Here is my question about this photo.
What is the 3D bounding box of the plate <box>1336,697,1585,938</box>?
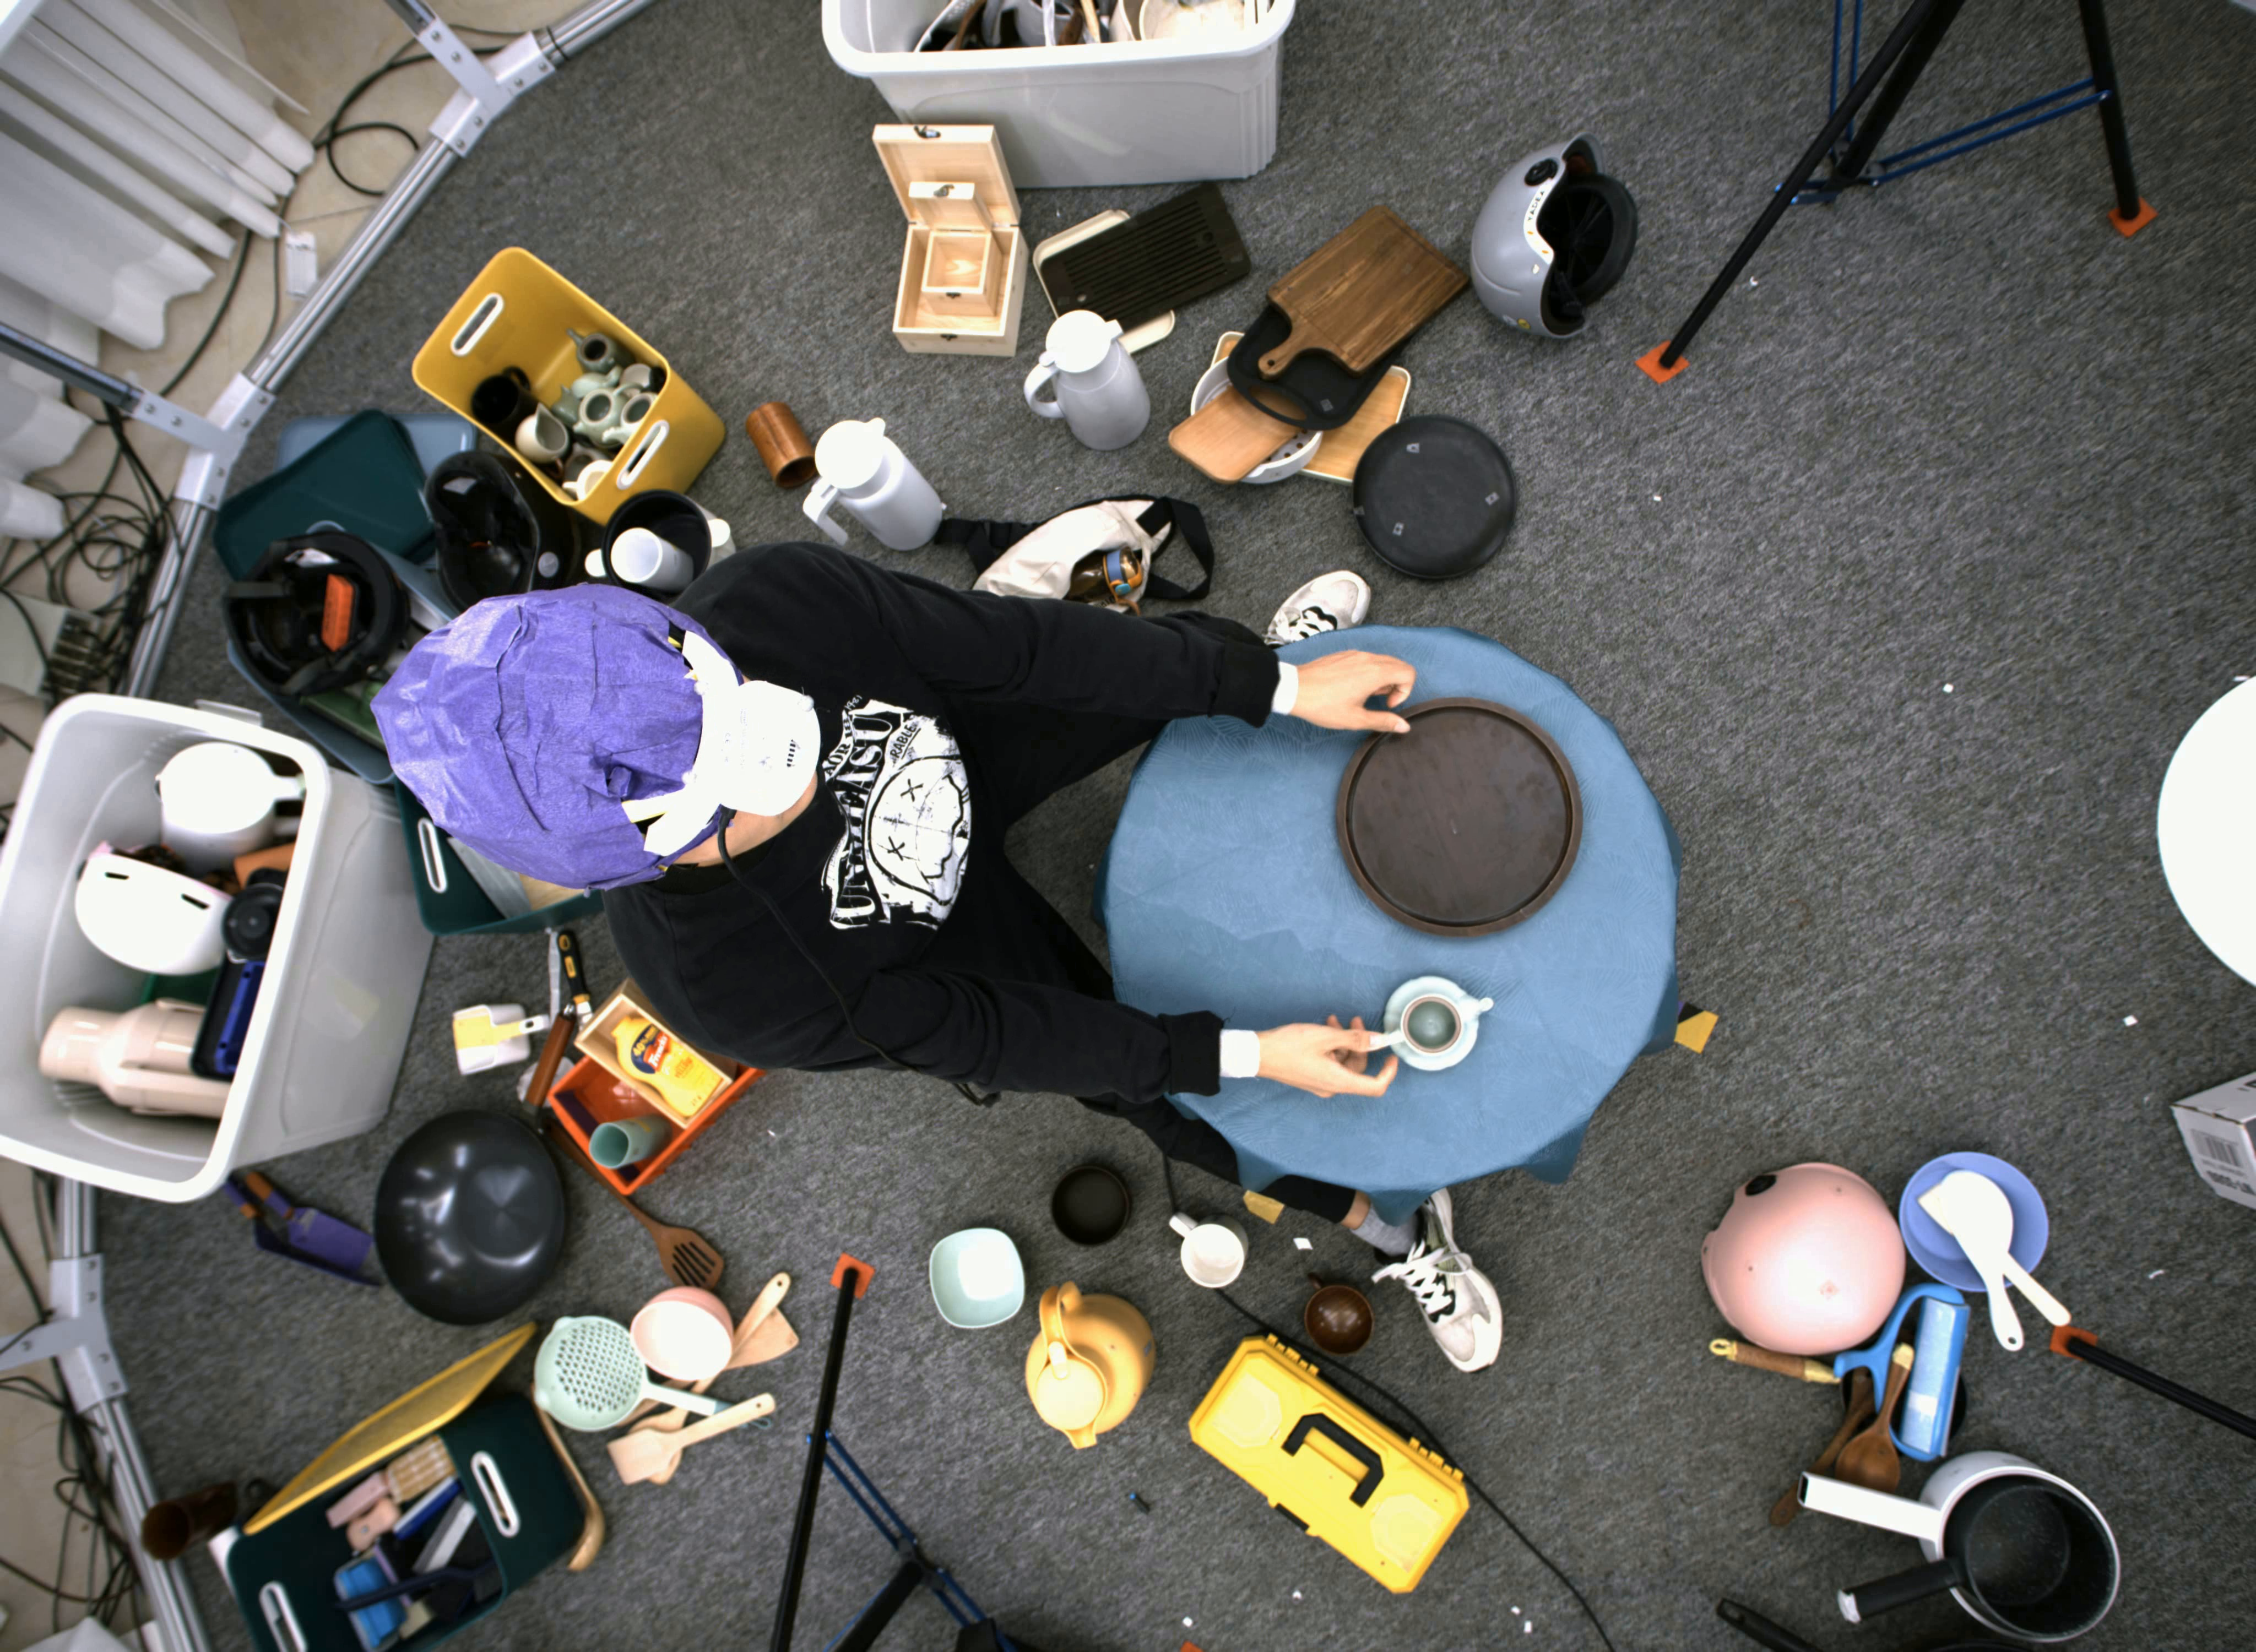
[{"bbox_3d":[0.346,-0.011,1.438,0.256,0.029,0.254,-1,88,10],"label":"plate"}]

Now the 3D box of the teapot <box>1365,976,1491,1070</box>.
[{"bbox_3d":[0.306,0.202,1.417,0.138,0.061,0.095,-24,84,8],"label":"teapot"}]
